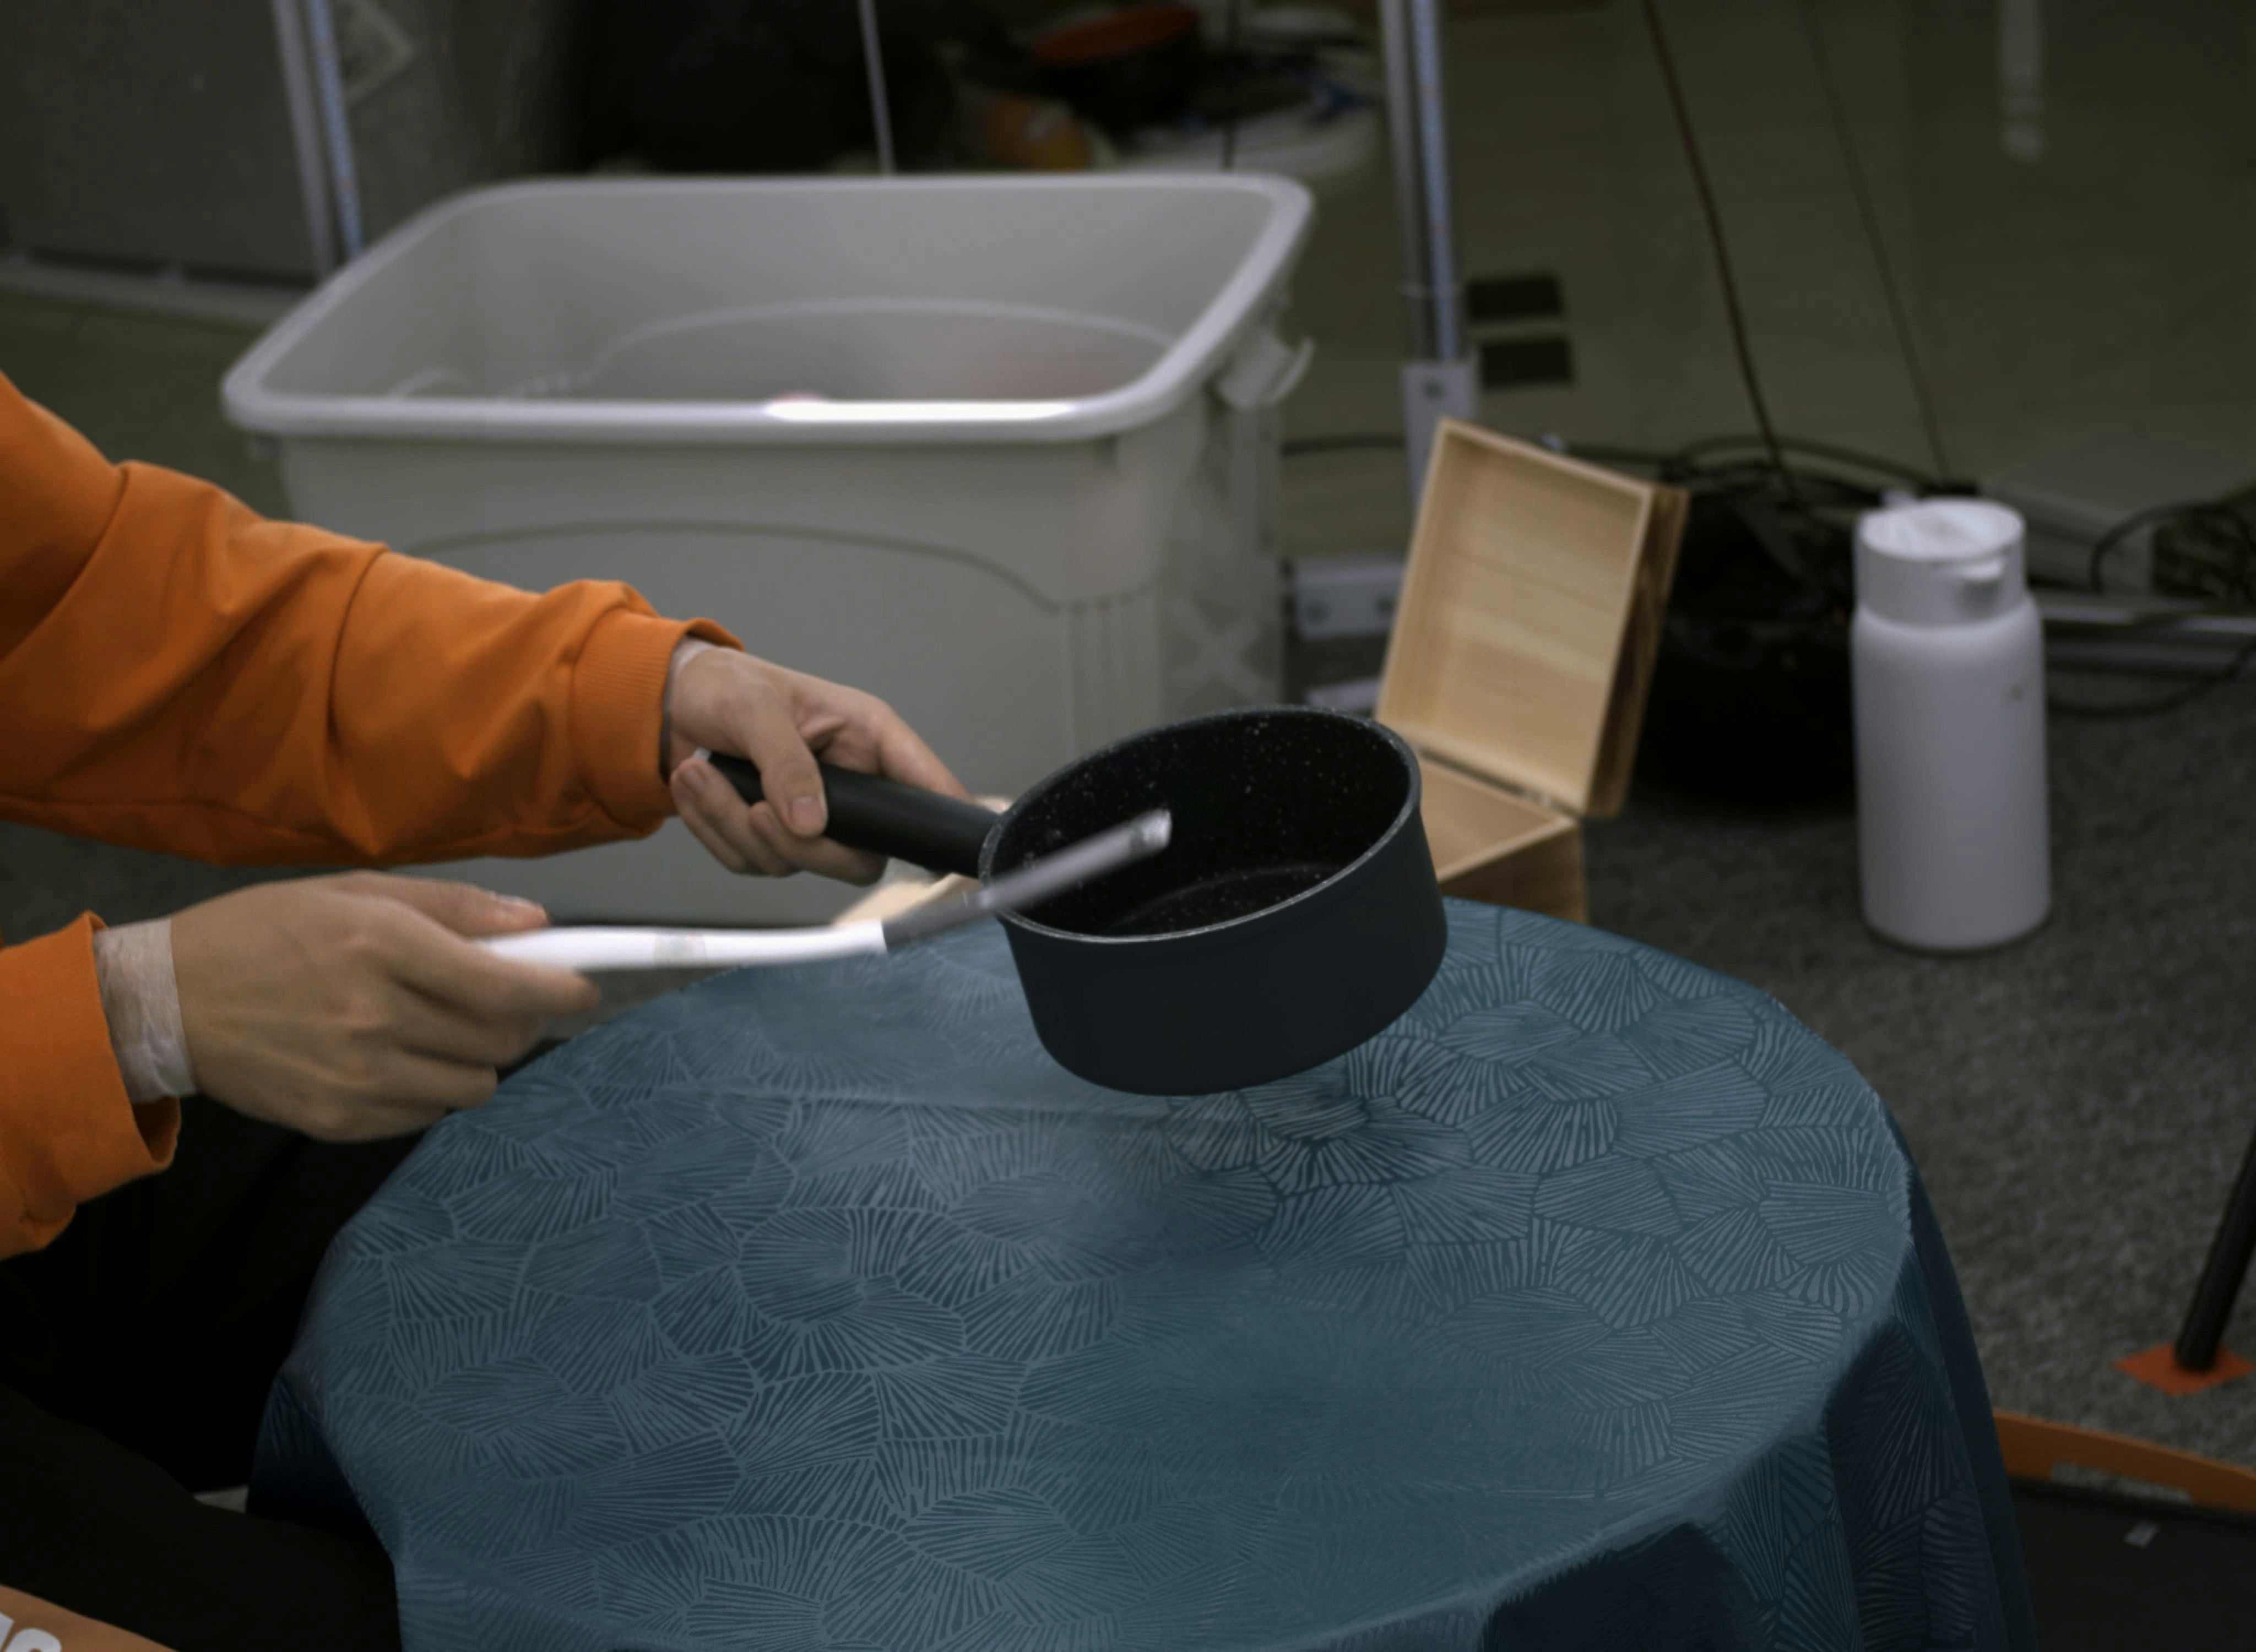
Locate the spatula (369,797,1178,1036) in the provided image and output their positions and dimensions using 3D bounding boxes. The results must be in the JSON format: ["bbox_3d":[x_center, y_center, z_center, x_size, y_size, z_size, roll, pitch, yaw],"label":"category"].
[{"bbox_3d":[-0.121,0.030,1.974,0.287,0.032,0.058,-11,4,3],"label":"spatula"}]

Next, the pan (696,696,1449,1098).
[{"bbox_3d":[-0.029,0.017,2.193,0.327,0.088,0.170,9,37,36],"label":"pan"}]
